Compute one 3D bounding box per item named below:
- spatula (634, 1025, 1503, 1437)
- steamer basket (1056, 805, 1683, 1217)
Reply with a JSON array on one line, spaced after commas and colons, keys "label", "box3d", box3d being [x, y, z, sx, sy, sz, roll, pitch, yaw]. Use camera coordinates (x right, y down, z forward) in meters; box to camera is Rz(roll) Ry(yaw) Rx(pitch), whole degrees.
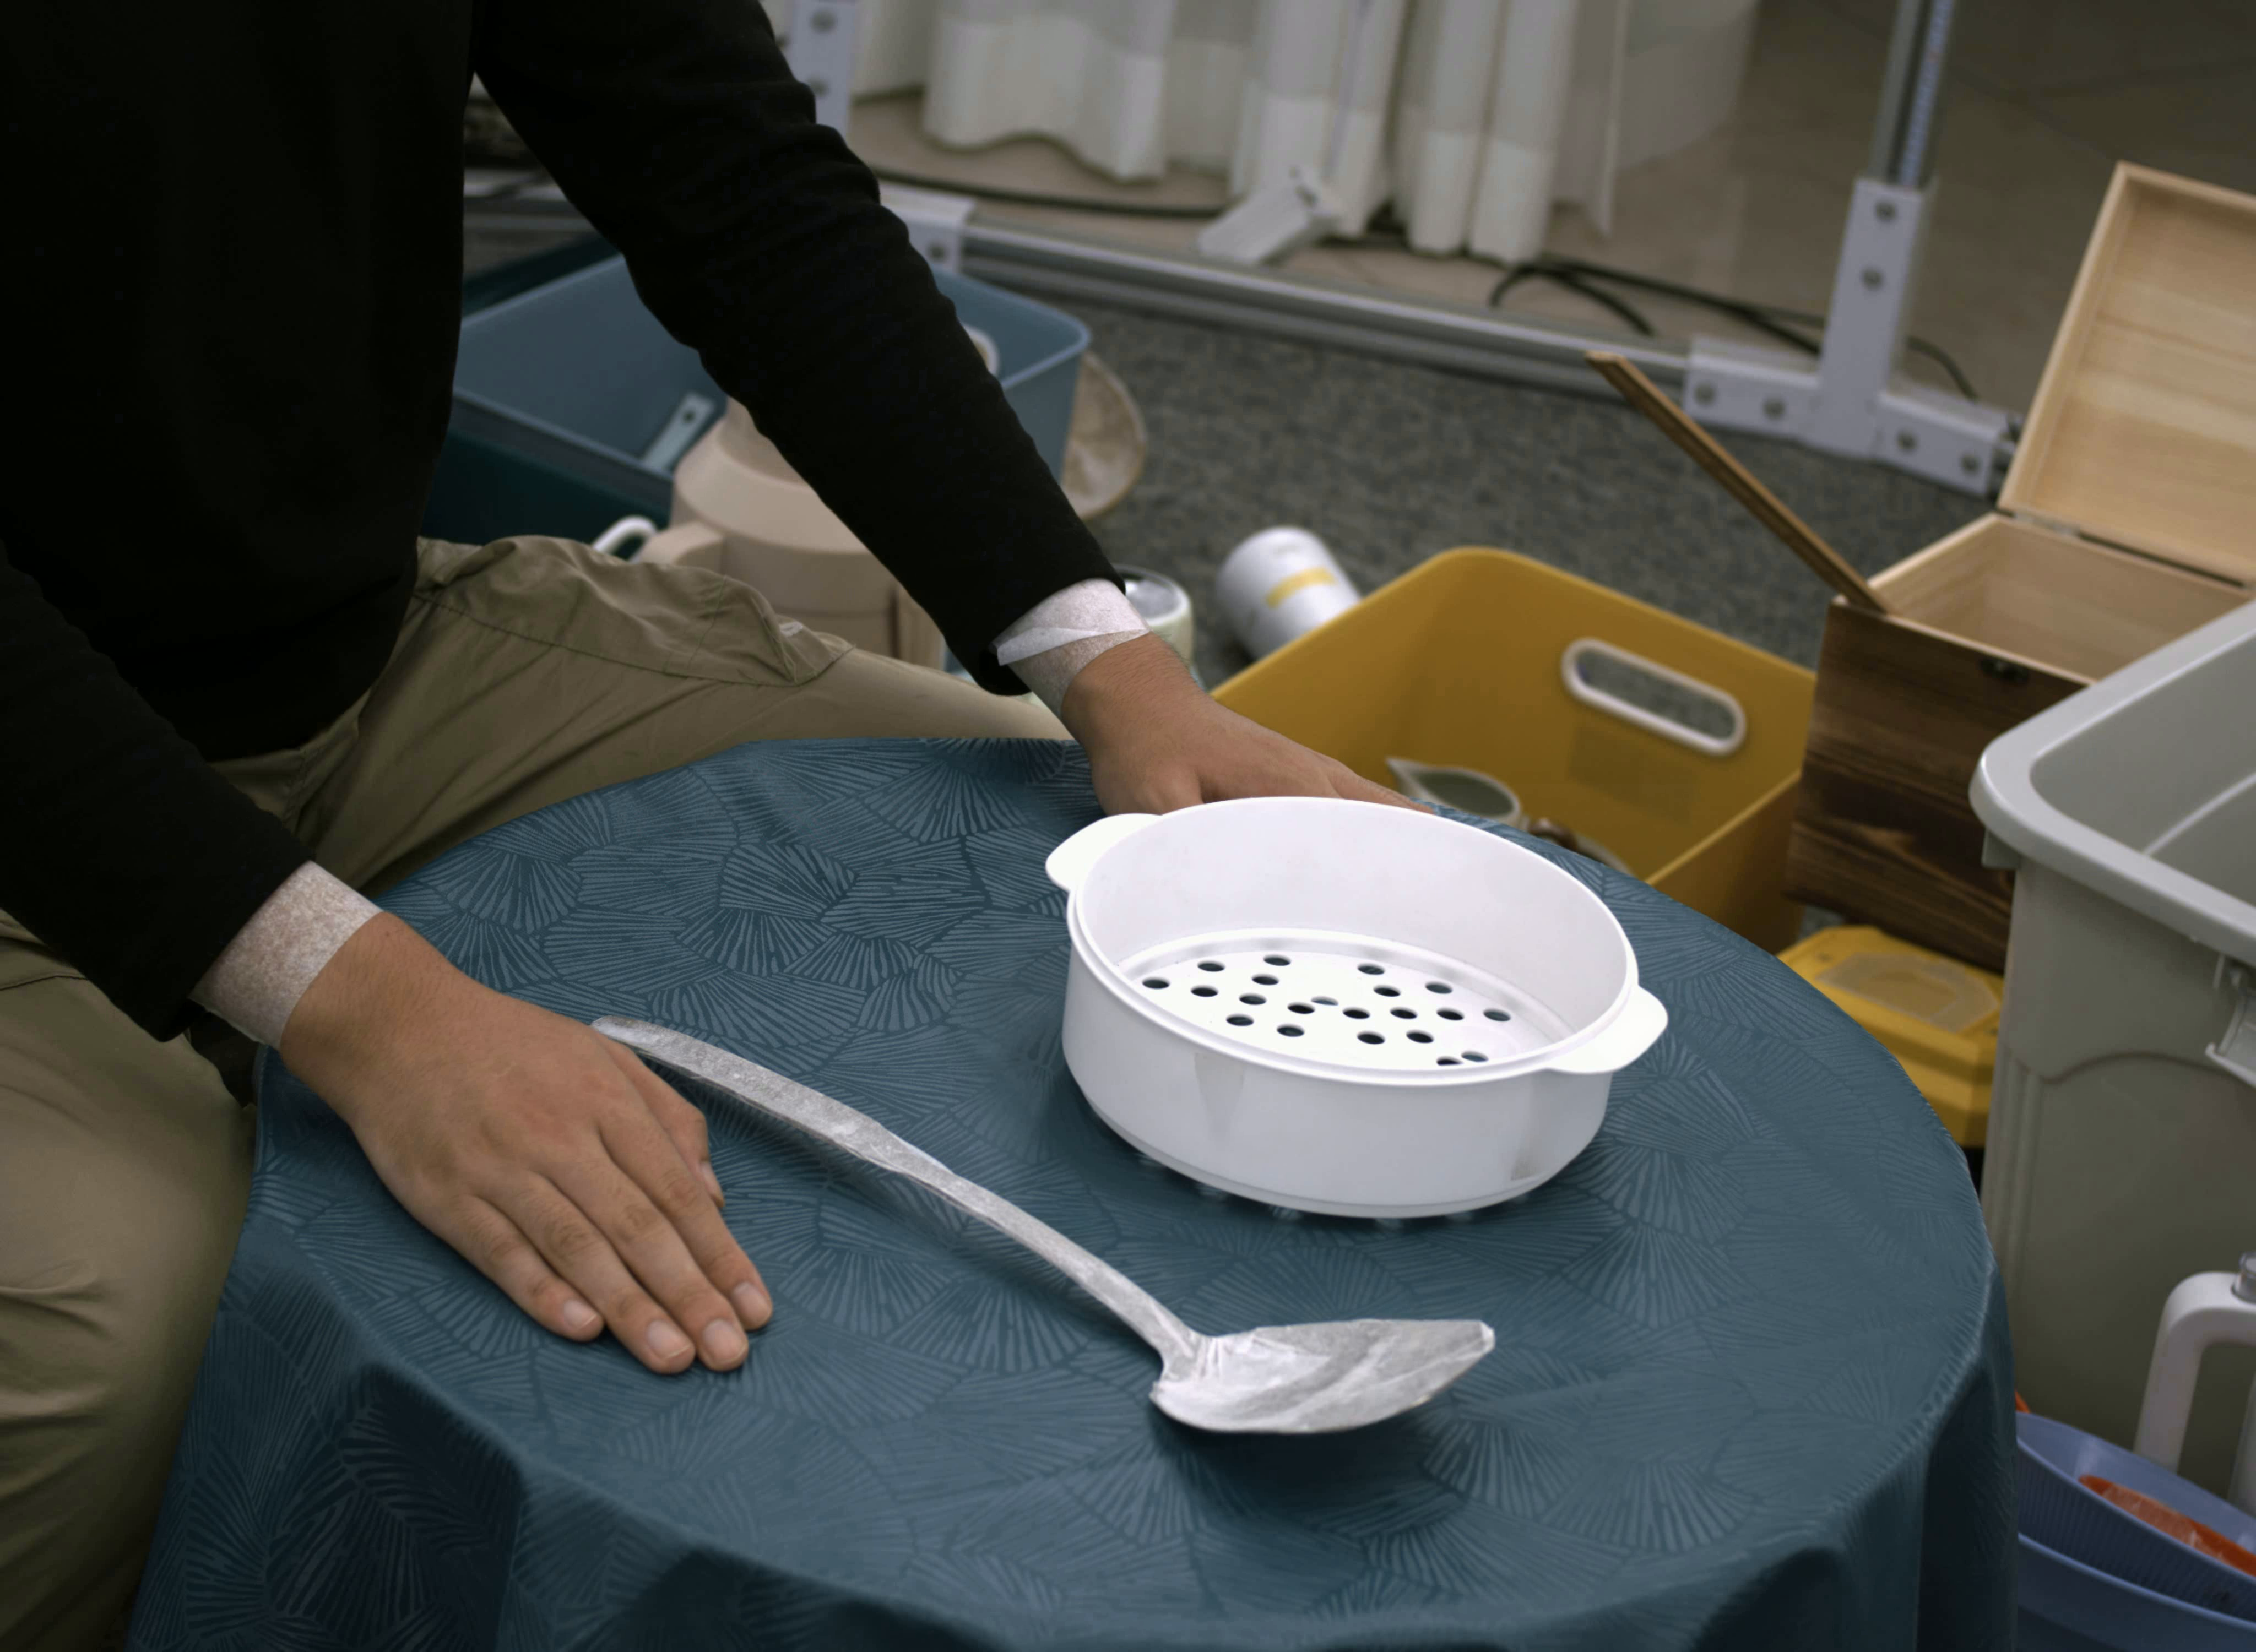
[{"label": "spatula", "box3d": [-0.040, 0.124, 1.750, 0.367, 0.044, 0.098, 26, 35, 34]}, {"label": "steamer basket", "box3d": [0.079, 0.065, 1.859, 0.231, 0.069, 0.201, 19, 28, 25]}]
